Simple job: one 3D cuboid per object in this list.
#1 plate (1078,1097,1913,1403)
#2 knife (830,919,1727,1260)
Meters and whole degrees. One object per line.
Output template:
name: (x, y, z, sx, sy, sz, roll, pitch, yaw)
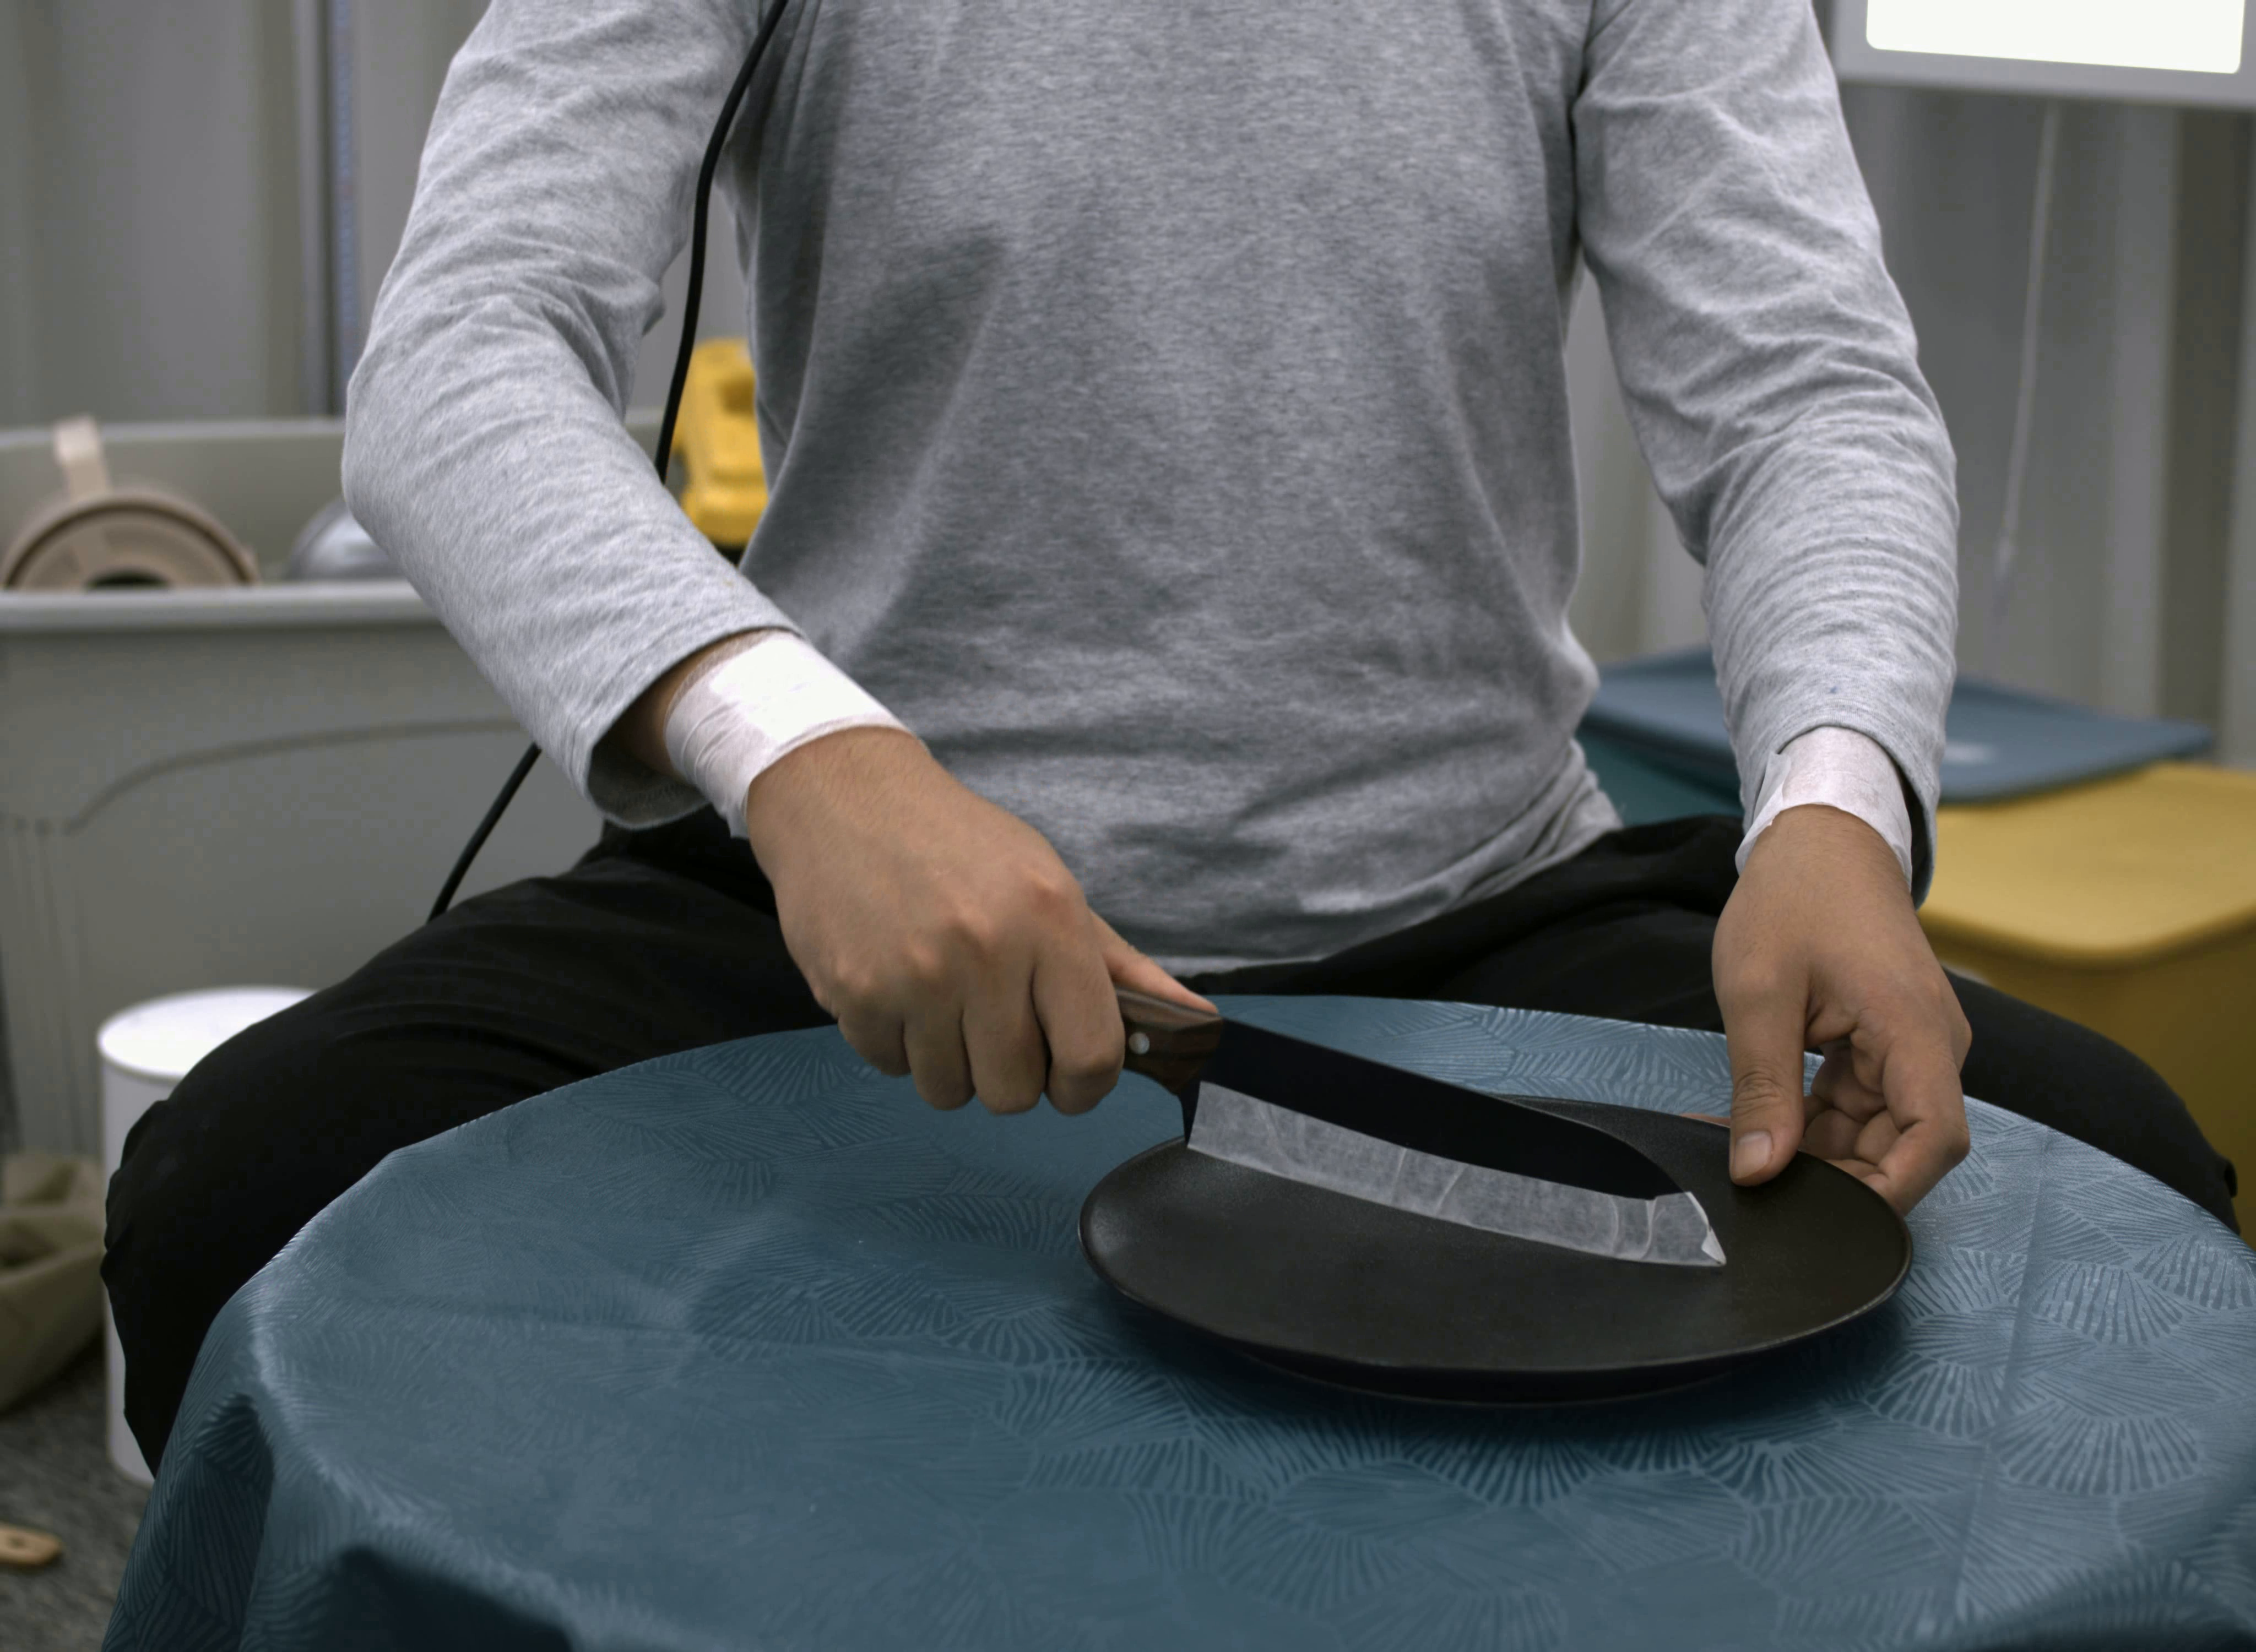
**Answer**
plate: (0.106, 0.126, 1.538, 0.243, 0.023, 0.243, 1, 15, 0)
knife: (0.043, 0.079, 1.567, 0.287, 0.050, 0.020, 18, 22, 13)
